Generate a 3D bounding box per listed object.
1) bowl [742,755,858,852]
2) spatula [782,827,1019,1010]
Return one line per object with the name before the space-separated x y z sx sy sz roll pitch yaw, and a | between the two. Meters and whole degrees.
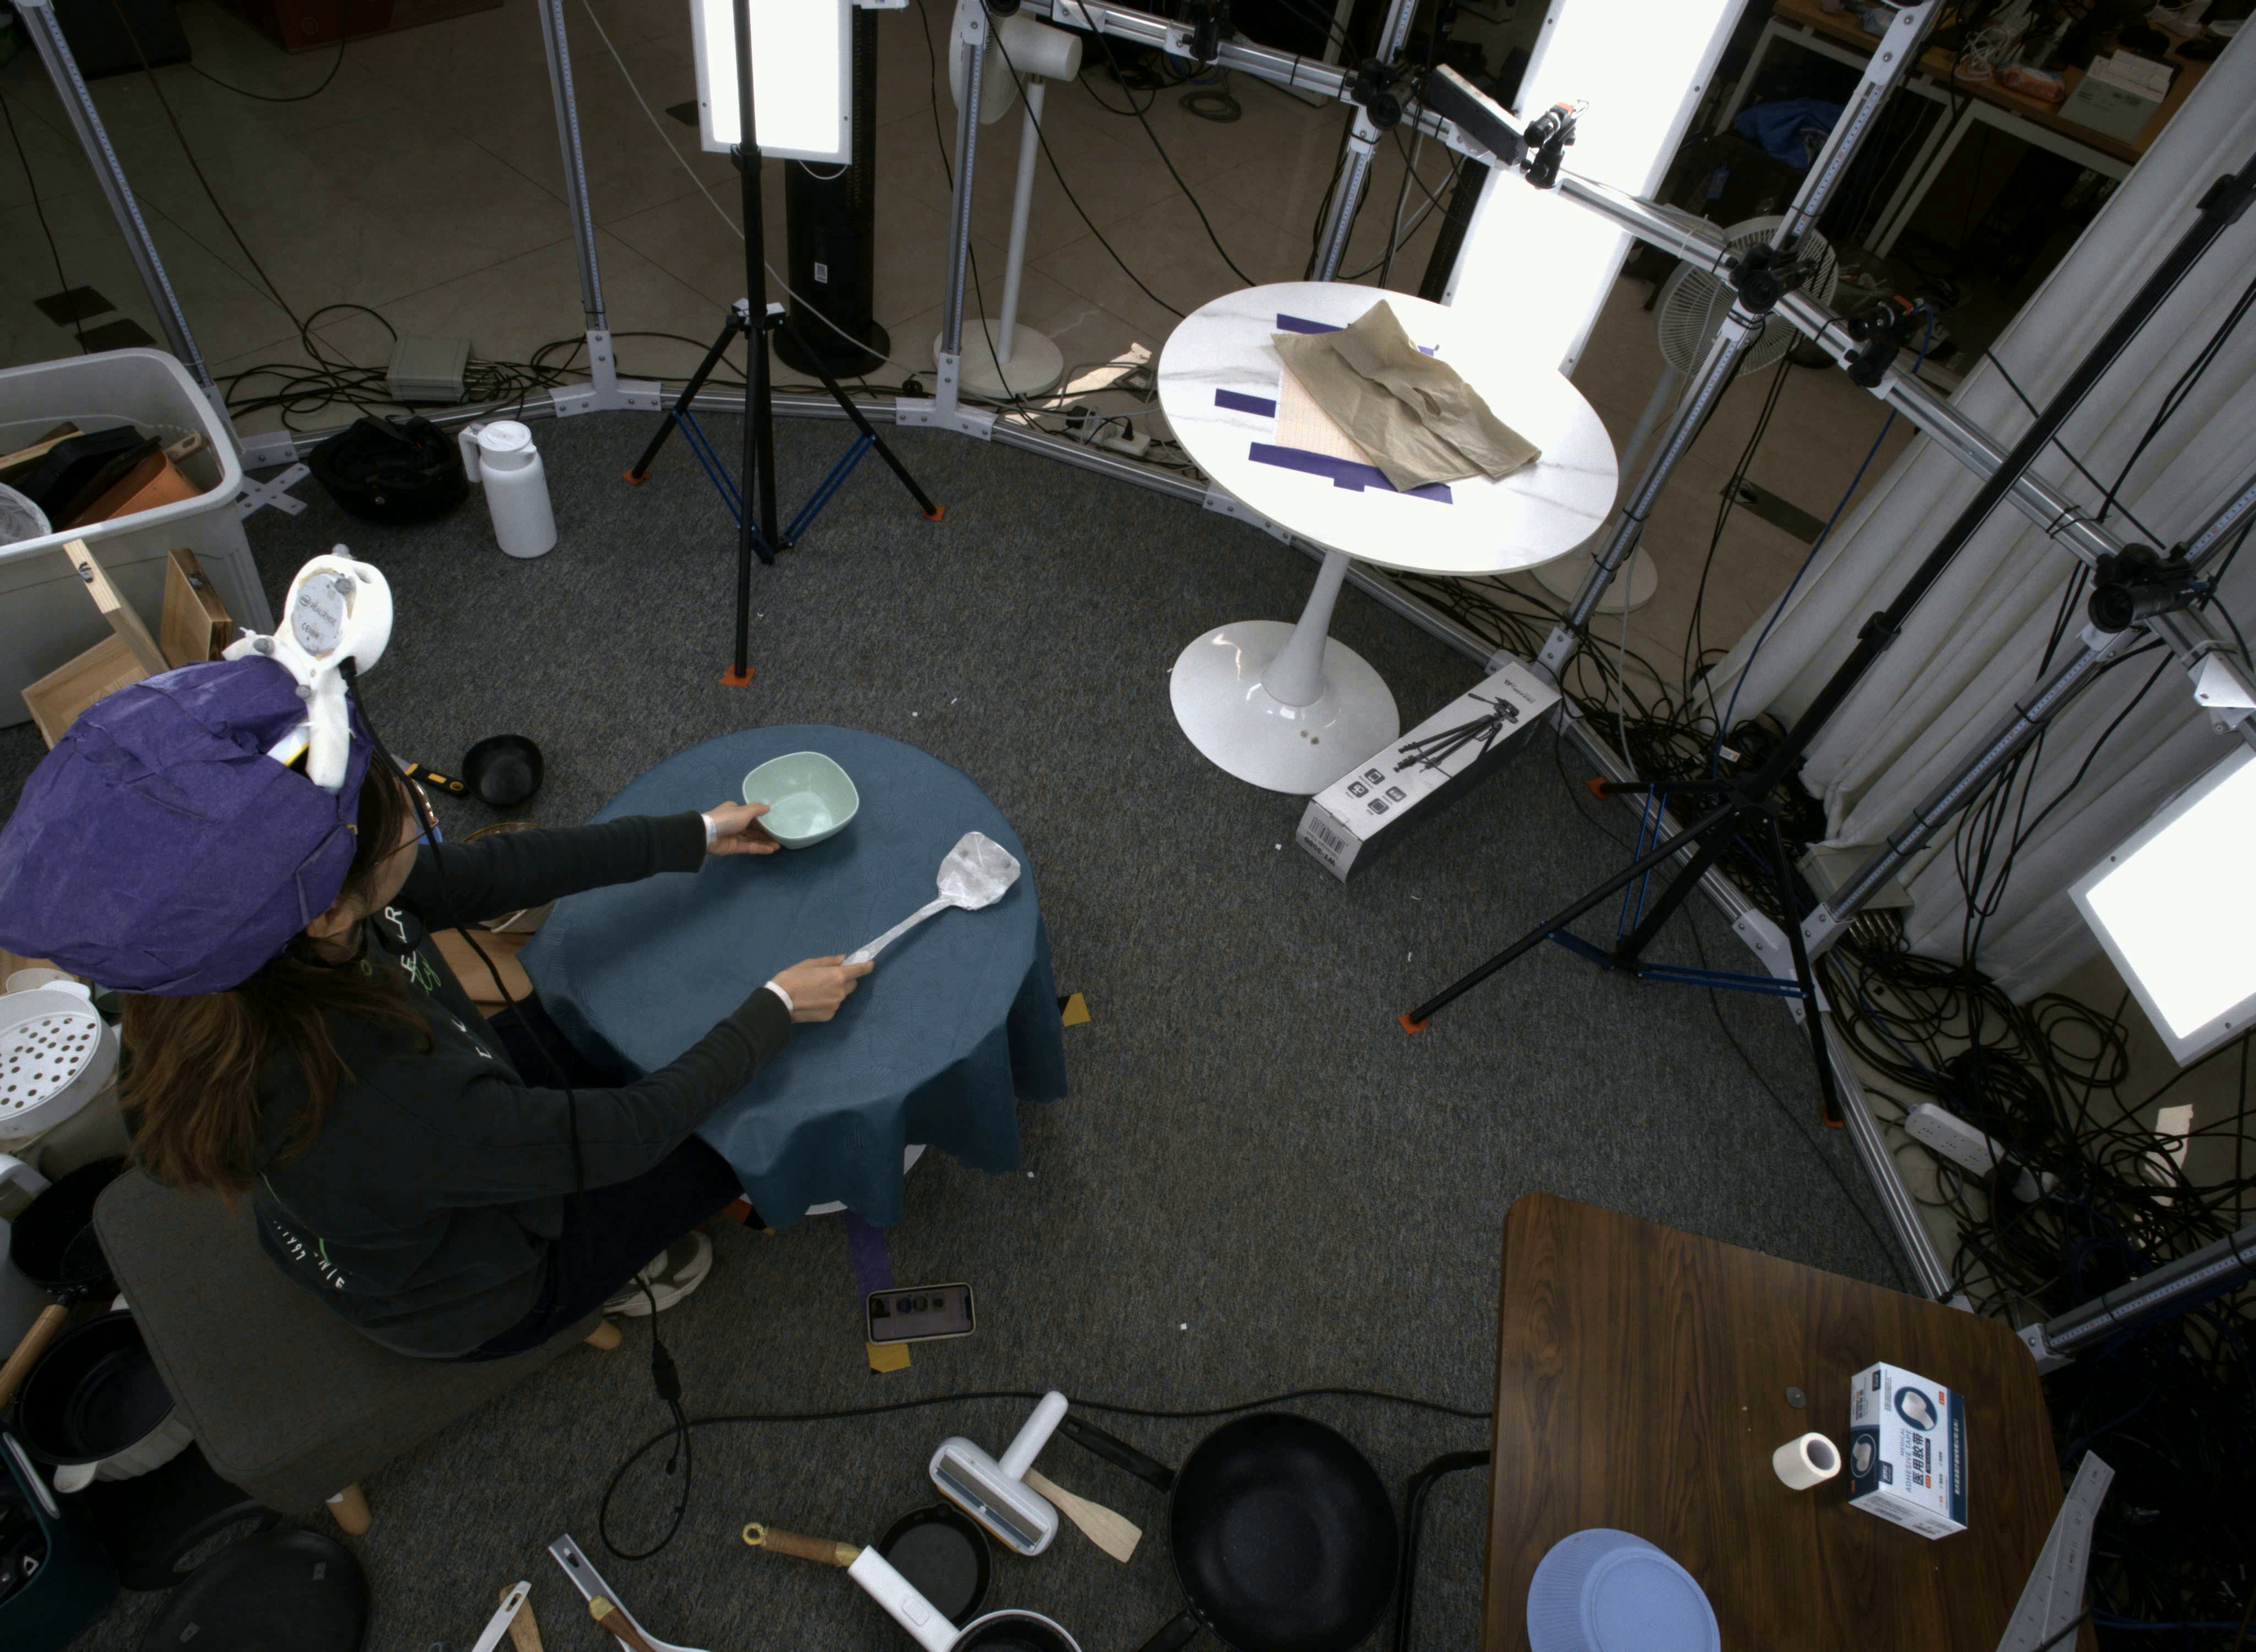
bowl | -0.431 -0.022 1.707 0.151 0.060 0.148 9 47 -8
spatula | -0.287 0.121 1.638 0.097 0.045 0.366 40 49 16
